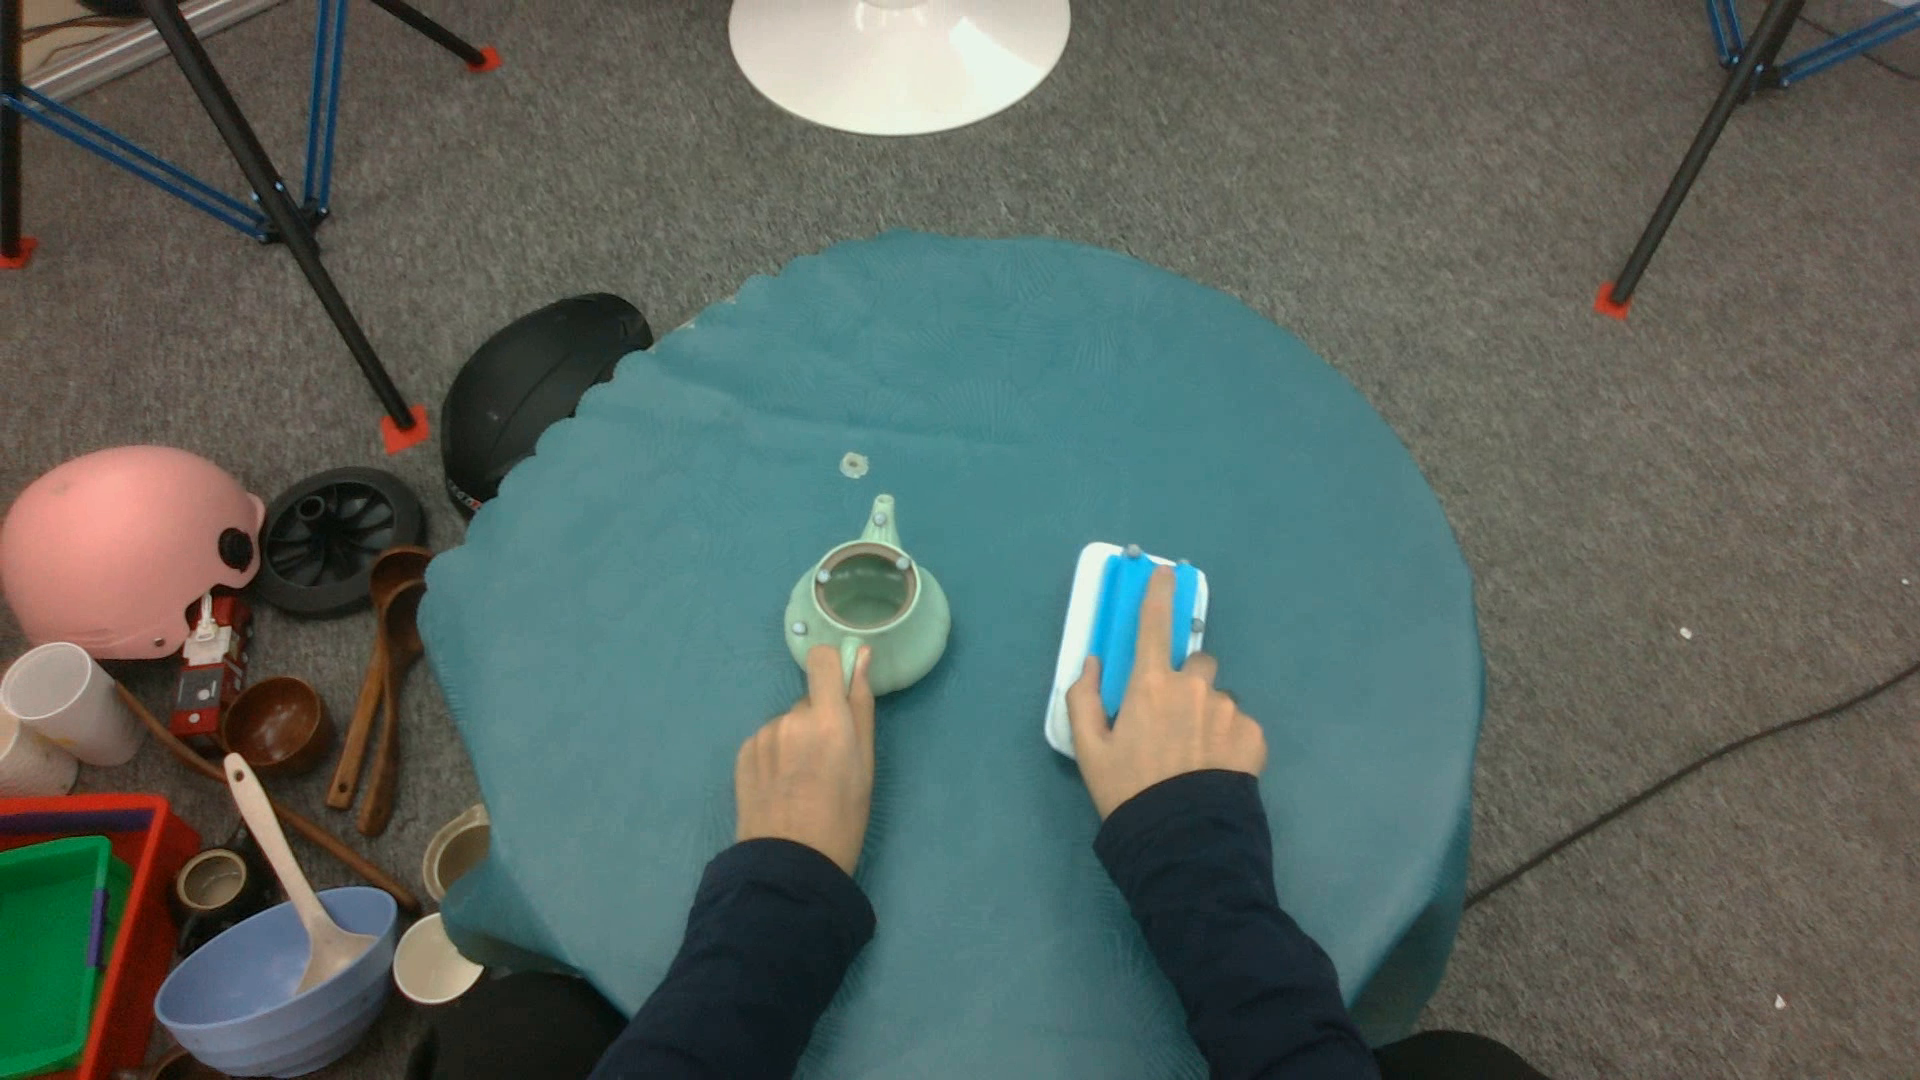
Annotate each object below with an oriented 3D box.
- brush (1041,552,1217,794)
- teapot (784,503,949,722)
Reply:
[{"bbox_3d":[0.100,0.067,0.779,0.084,0.055,0.144,17,57,2],"label":"brush"},{"bbox_3d":[-0.055,0.049,0.800,0.096,0.061,0.137,9,53,1],"label":"teapot"}]
